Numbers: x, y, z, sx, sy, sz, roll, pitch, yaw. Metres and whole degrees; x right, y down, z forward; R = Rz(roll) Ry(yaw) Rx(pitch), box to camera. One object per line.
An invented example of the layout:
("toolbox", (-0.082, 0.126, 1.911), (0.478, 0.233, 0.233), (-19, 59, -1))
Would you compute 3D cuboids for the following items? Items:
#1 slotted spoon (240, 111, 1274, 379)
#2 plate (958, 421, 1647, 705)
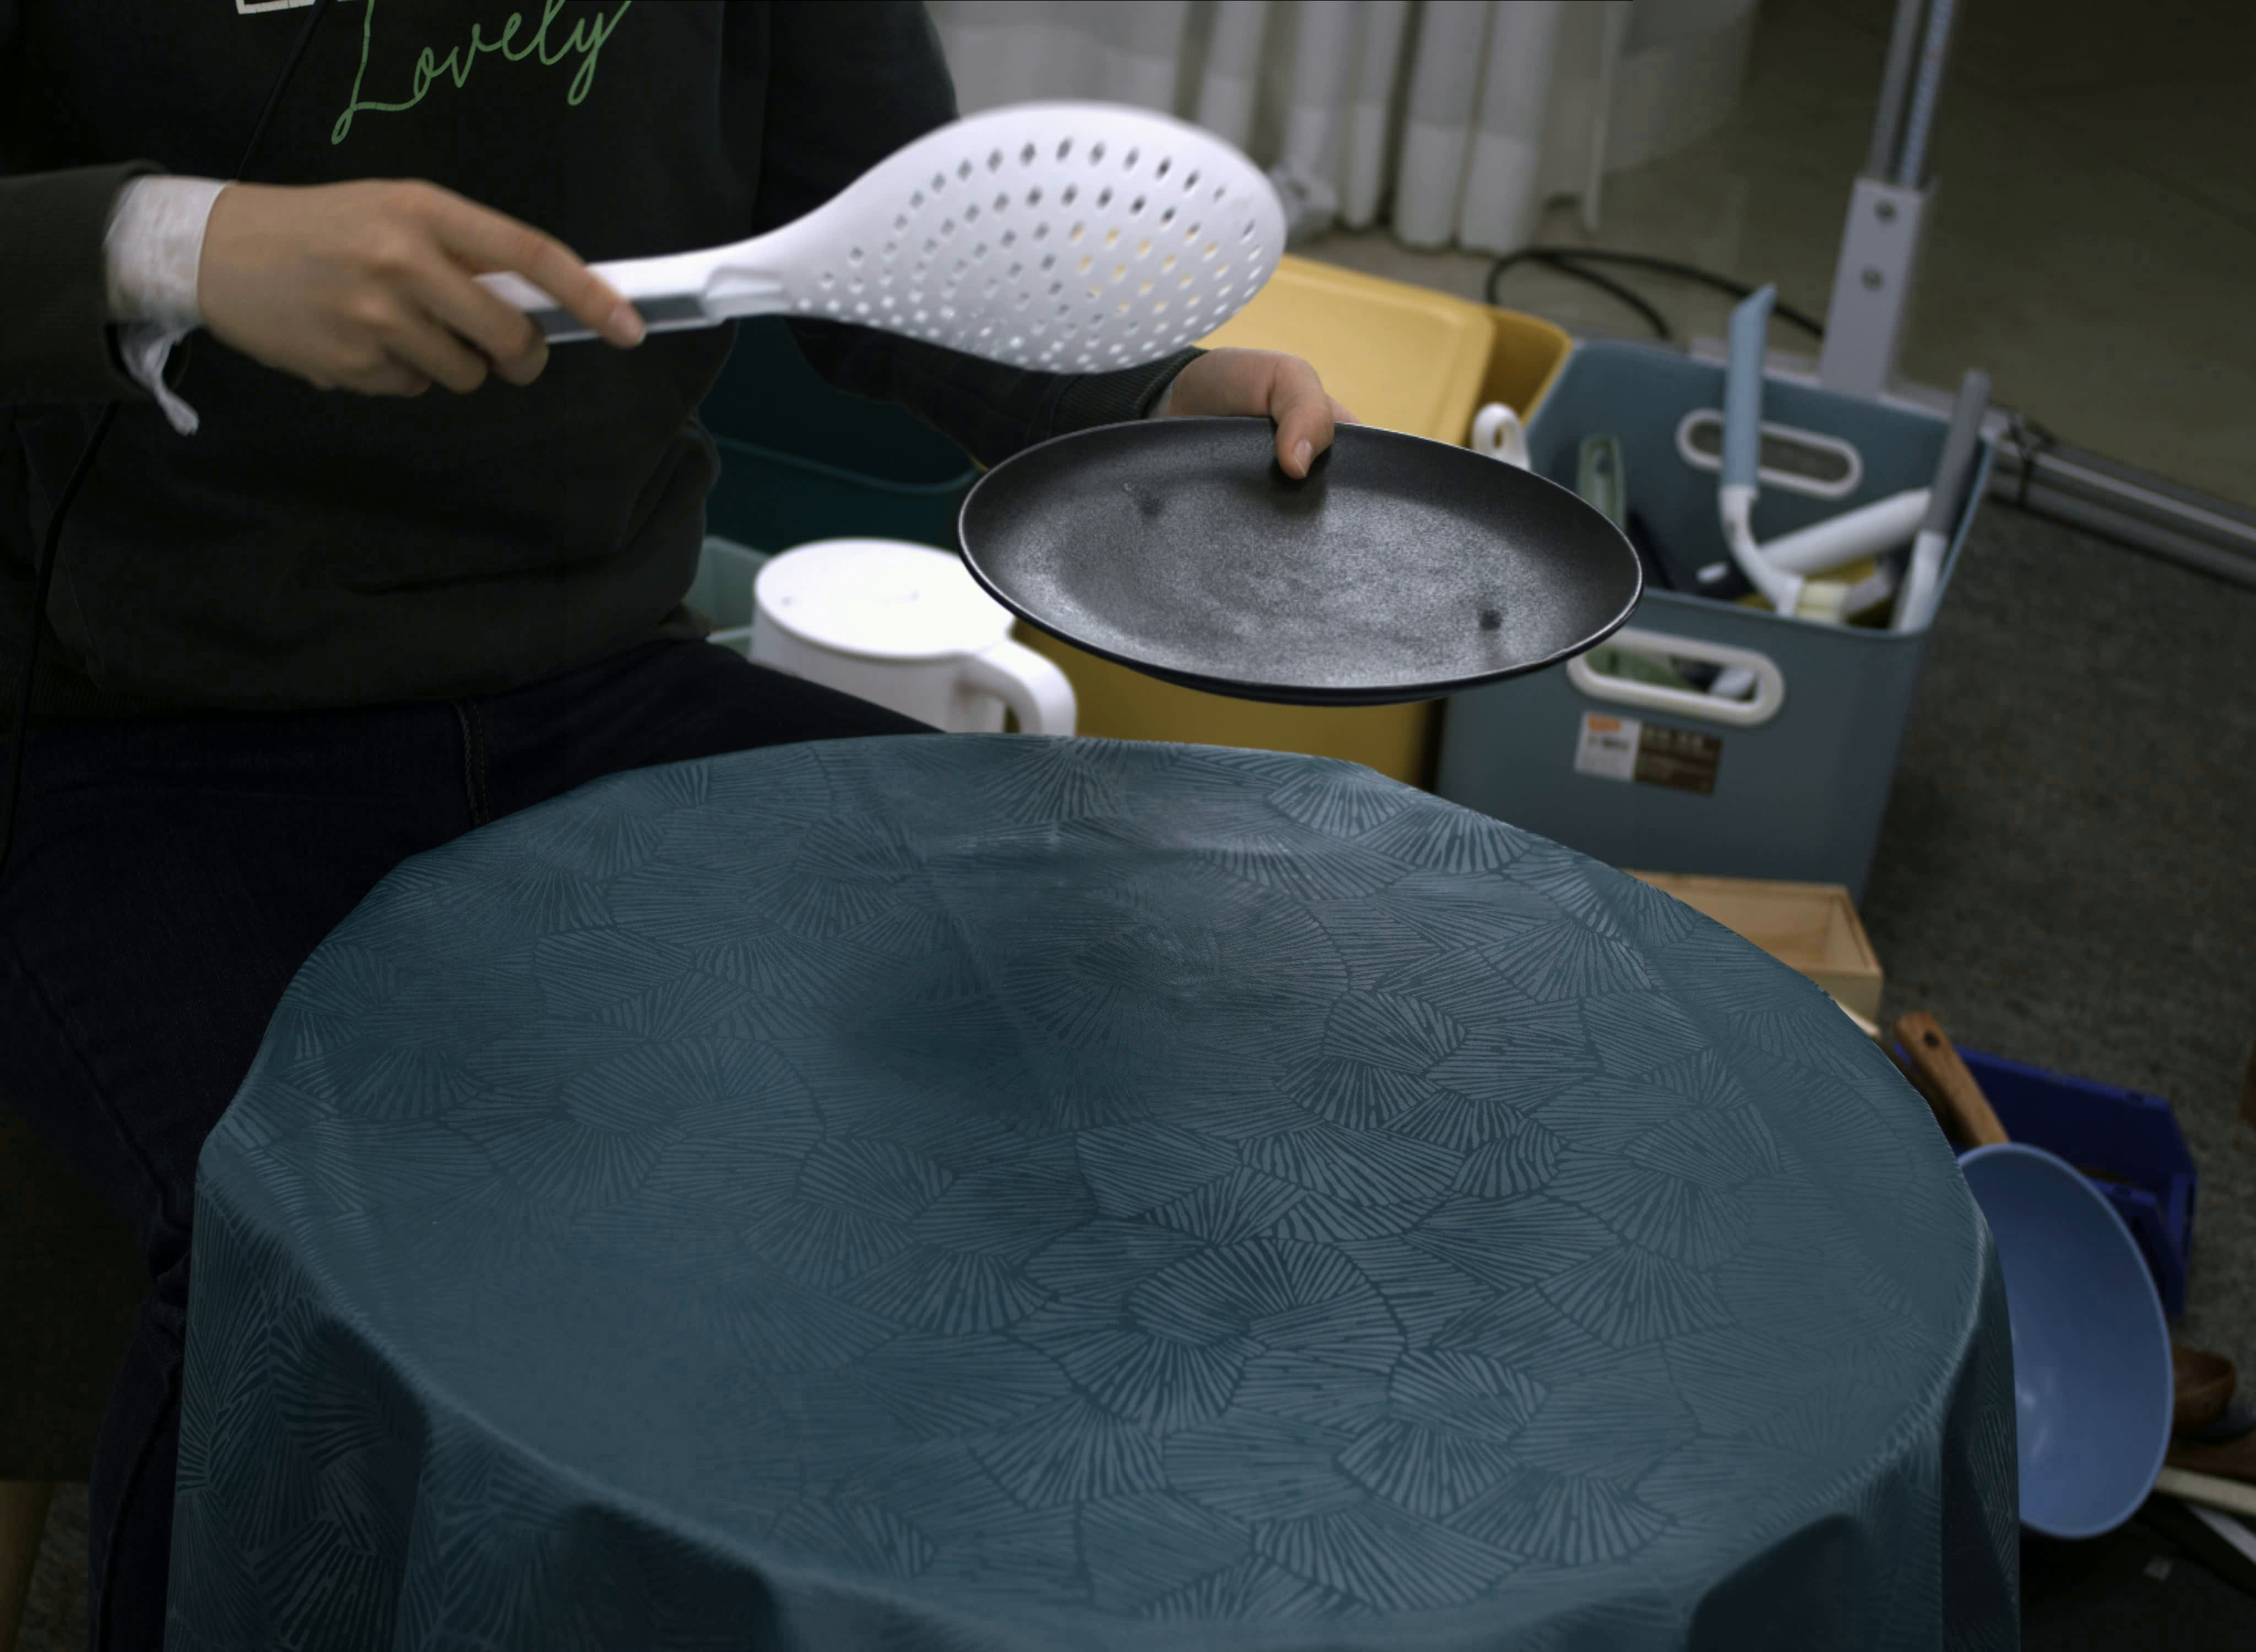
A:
("slotted spoon", (-0.125, -0.176, 1.735), (0.350, 0.135, 0.046), (-1, 64, 17))
("plate", (0.060, -0.089, 1.872), (0.243, 0.023, 0.246), (3, 25, -2))
